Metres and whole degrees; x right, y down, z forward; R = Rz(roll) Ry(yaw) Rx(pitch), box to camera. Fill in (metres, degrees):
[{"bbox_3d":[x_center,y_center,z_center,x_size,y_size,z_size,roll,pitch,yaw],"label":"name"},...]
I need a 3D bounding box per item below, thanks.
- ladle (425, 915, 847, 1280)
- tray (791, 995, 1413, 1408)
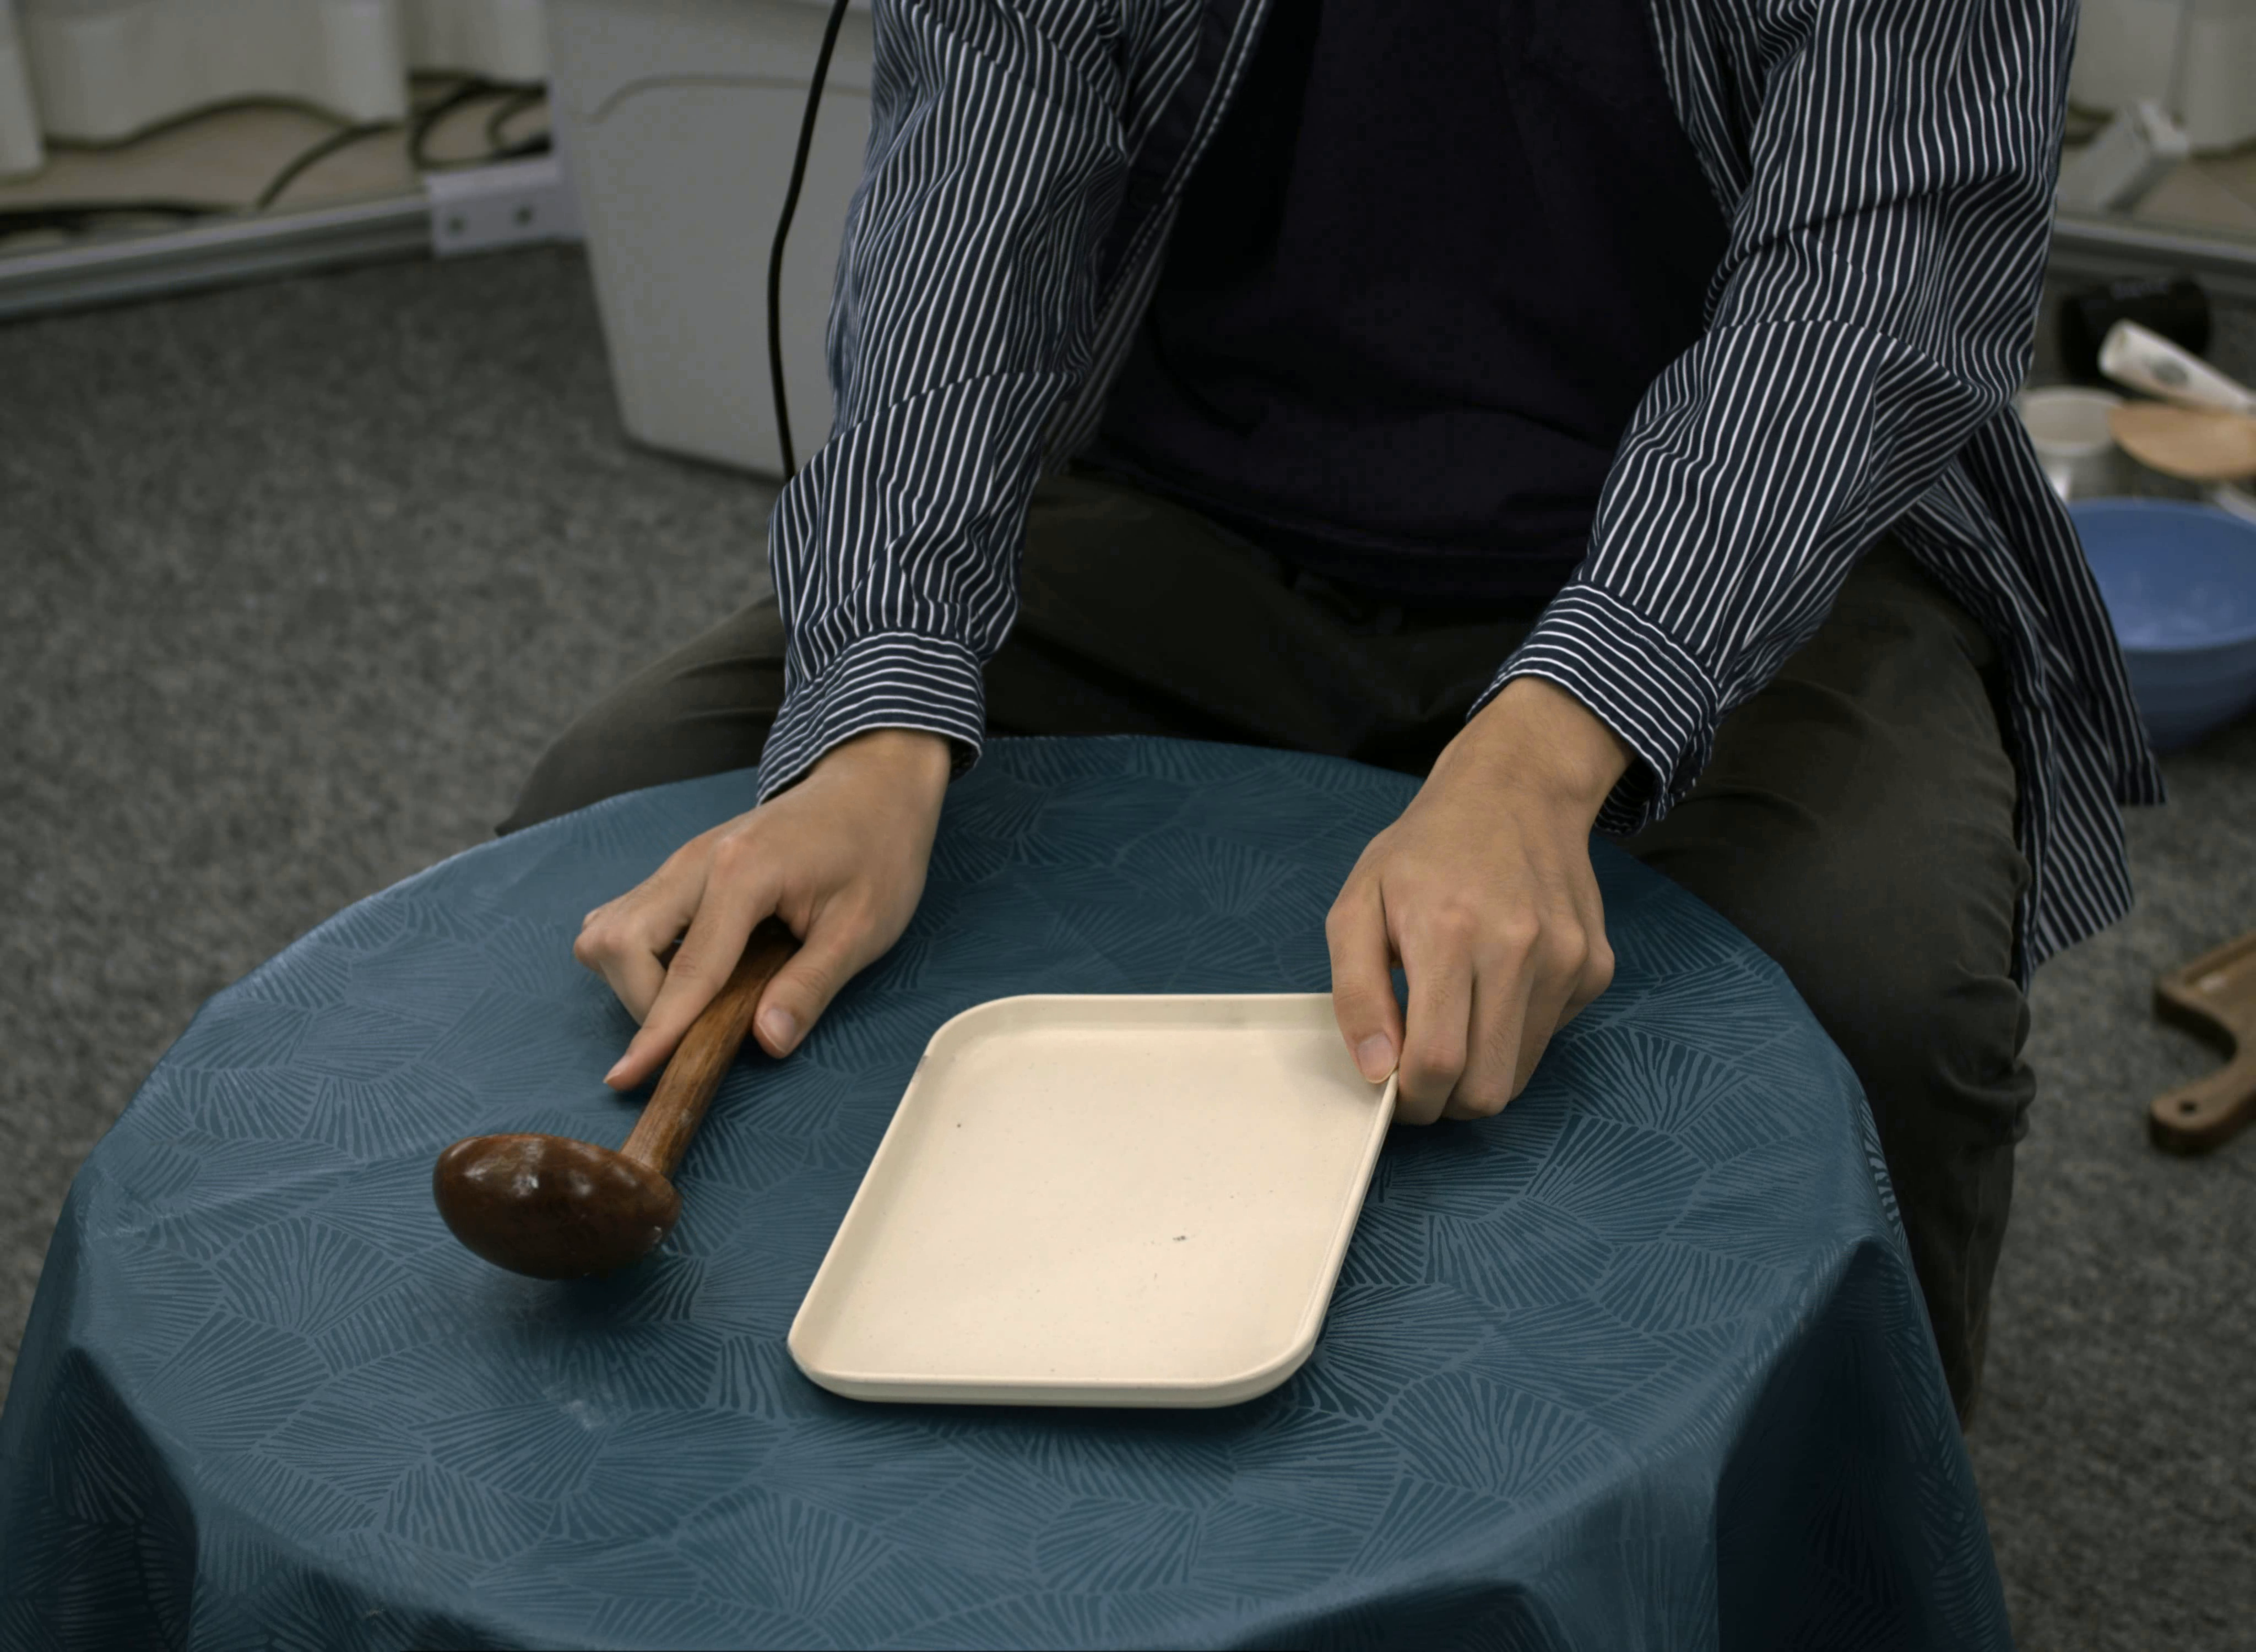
[{"bbox_3d":[-0.155,0.071,1.886,0.081,0.076,0.279,6,29,15],"label":"ladle"},{"bbox_3d":[-0.005,0.121,1.827,0.170,0.017,0.244,0,27,14],"label":"tray"}]
